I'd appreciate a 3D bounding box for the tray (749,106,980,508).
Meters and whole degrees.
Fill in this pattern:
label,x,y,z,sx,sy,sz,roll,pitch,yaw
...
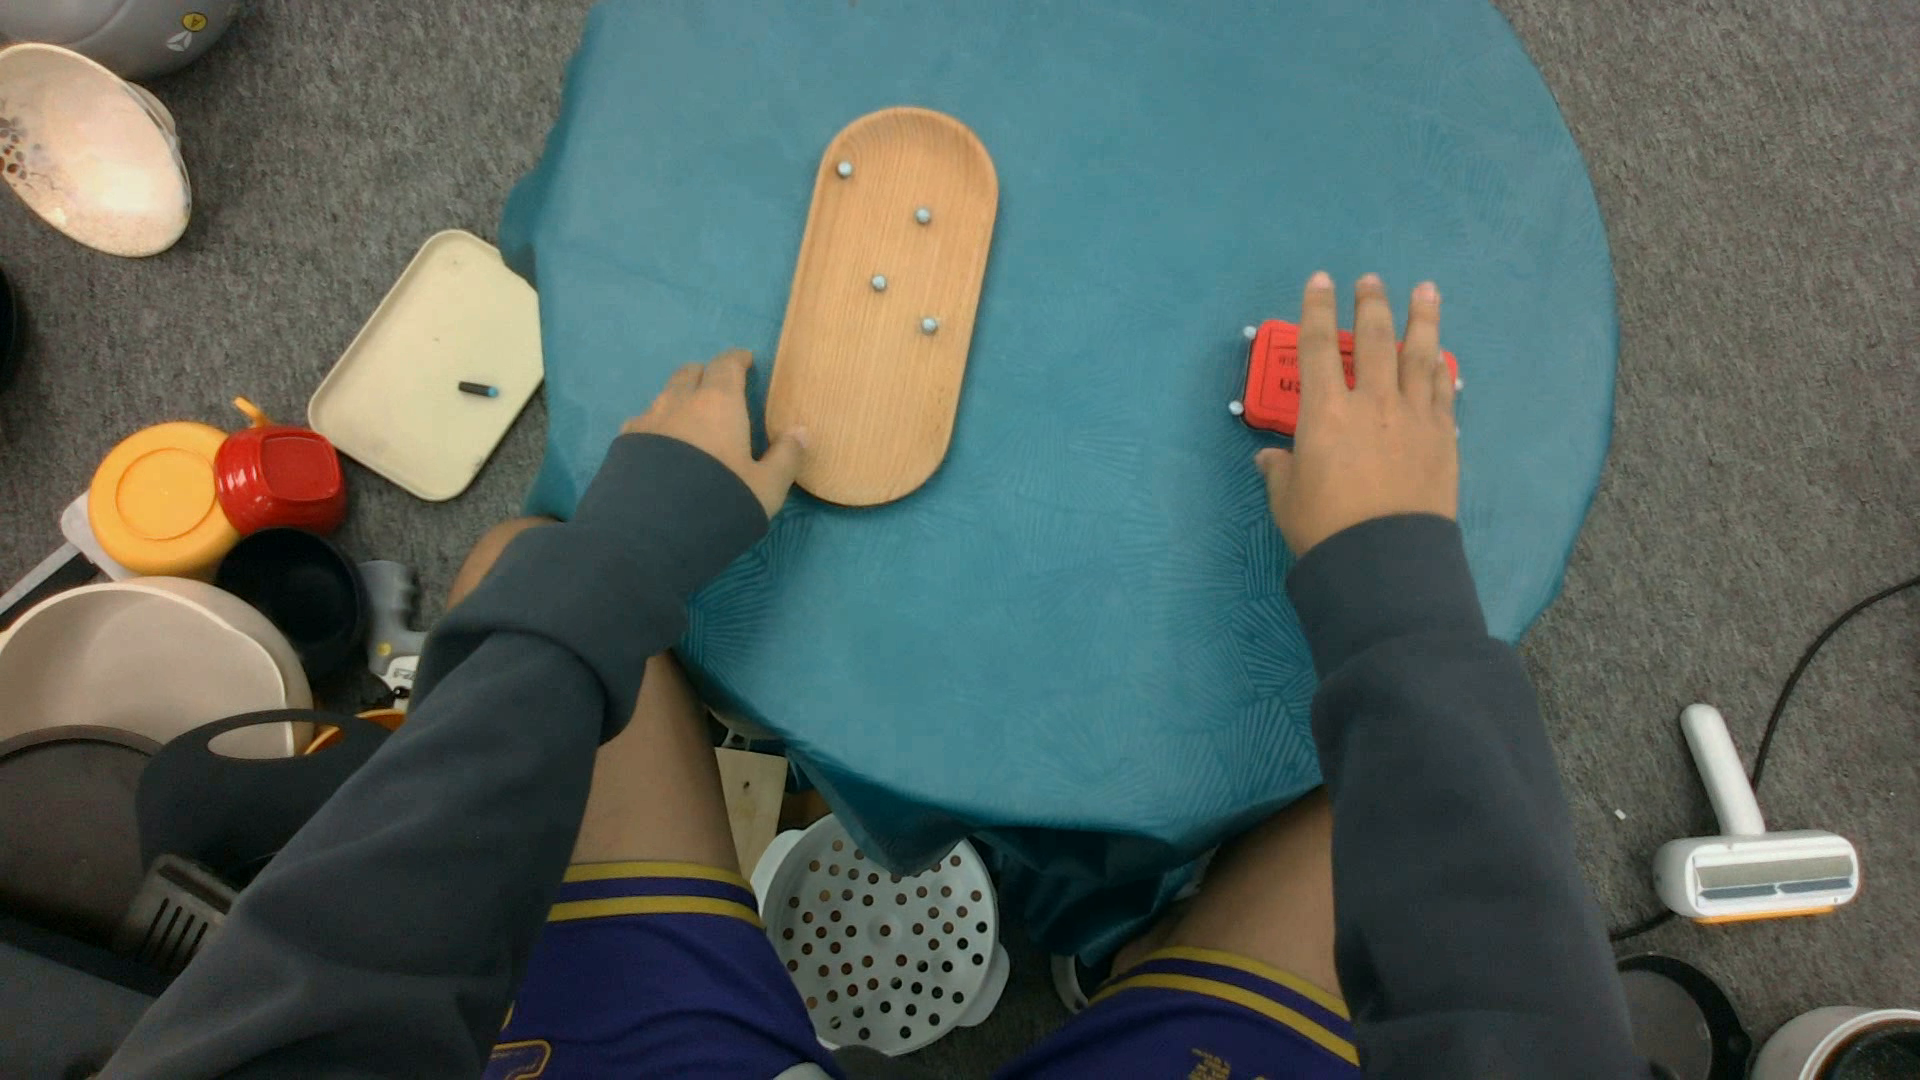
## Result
label,x,y,z,sx,sy,sz,roll,pitch,yaw
tray,-0.050,-0.129,0.747,0.101,0.020,0.231,9,78,0

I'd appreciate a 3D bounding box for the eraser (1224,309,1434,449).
label,x,y,z,sx,sy,sz,roll,pitch,yaw
eraser,0.200,-0.087,0.748,0.108,0.023,0.059,11,69,-1
